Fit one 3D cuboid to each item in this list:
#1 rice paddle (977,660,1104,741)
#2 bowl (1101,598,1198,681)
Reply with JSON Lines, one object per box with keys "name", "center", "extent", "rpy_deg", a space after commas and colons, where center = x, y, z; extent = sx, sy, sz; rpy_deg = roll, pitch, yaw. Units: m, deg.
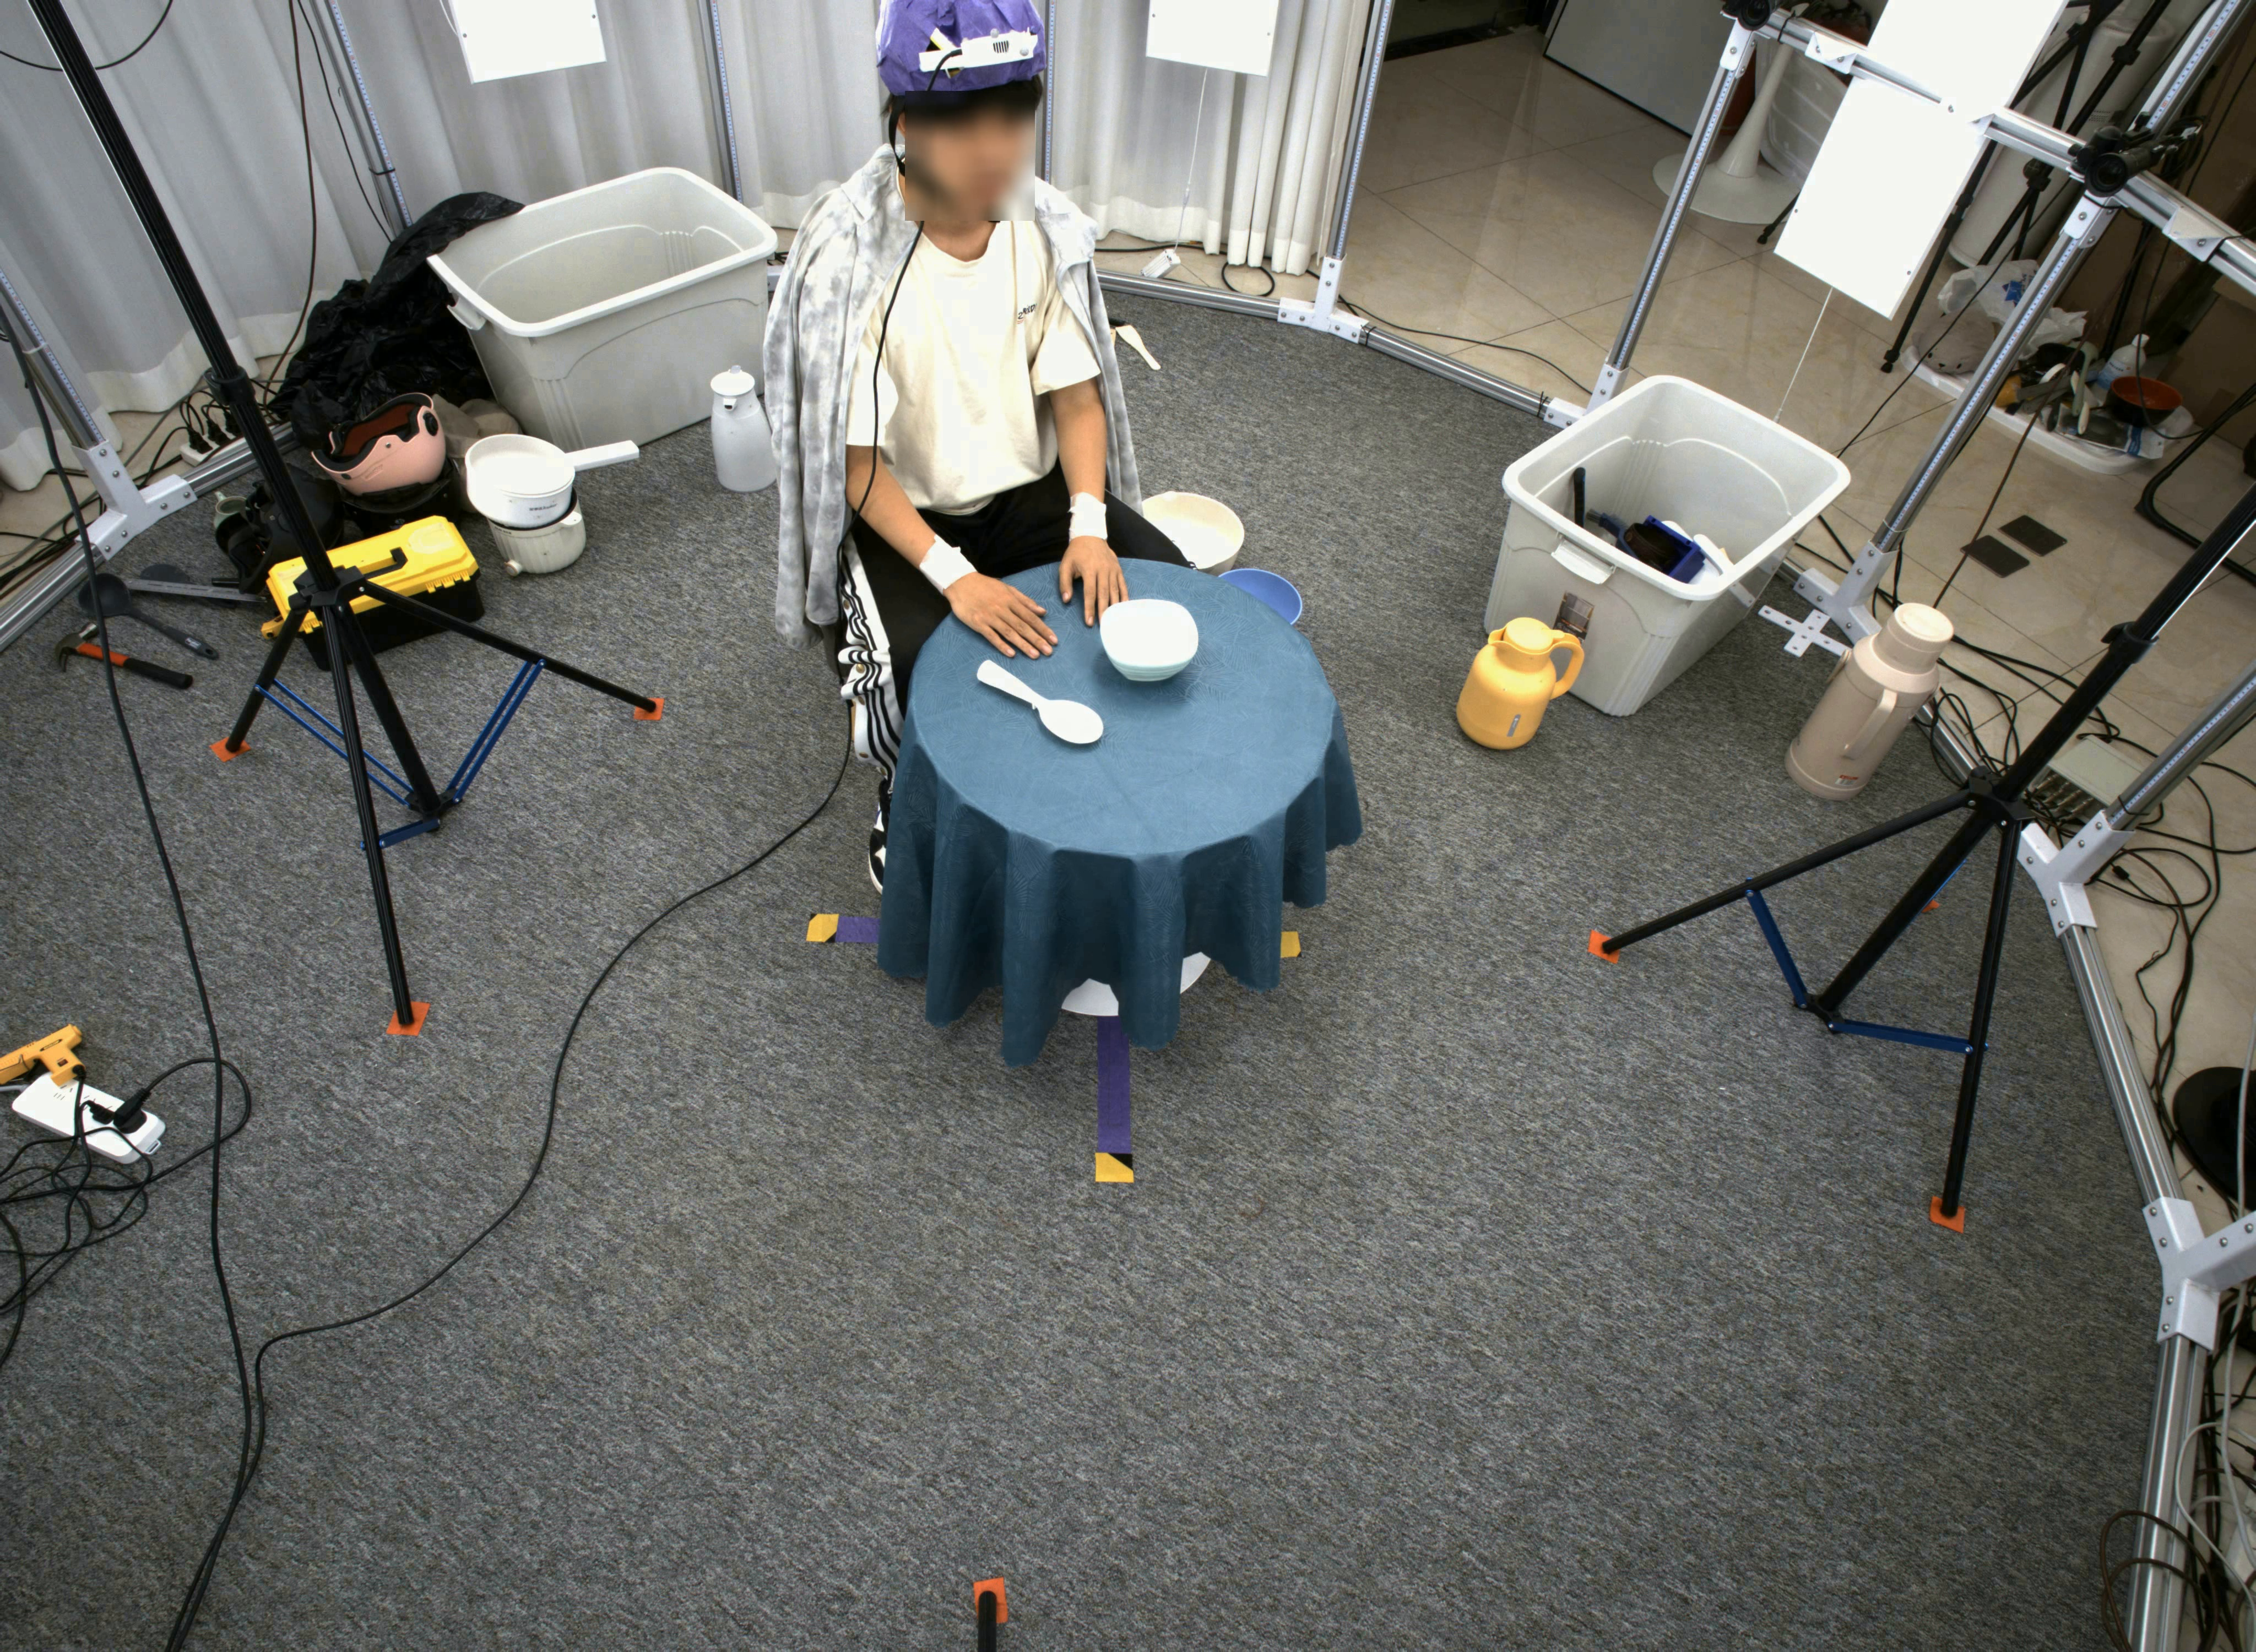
{"name": "rice paddle", "center": [-0.121, -0.175, 1.785], "extent": [0.207, 0.029, 0.069], "rpy_deg": [31, 55, 22]}
{"name": "bowl", "center": [0.030, -0.260, 1.853], "extent": [0.151, 0.057, 0.155], "rpy_deg": [1, 51, -2]}
